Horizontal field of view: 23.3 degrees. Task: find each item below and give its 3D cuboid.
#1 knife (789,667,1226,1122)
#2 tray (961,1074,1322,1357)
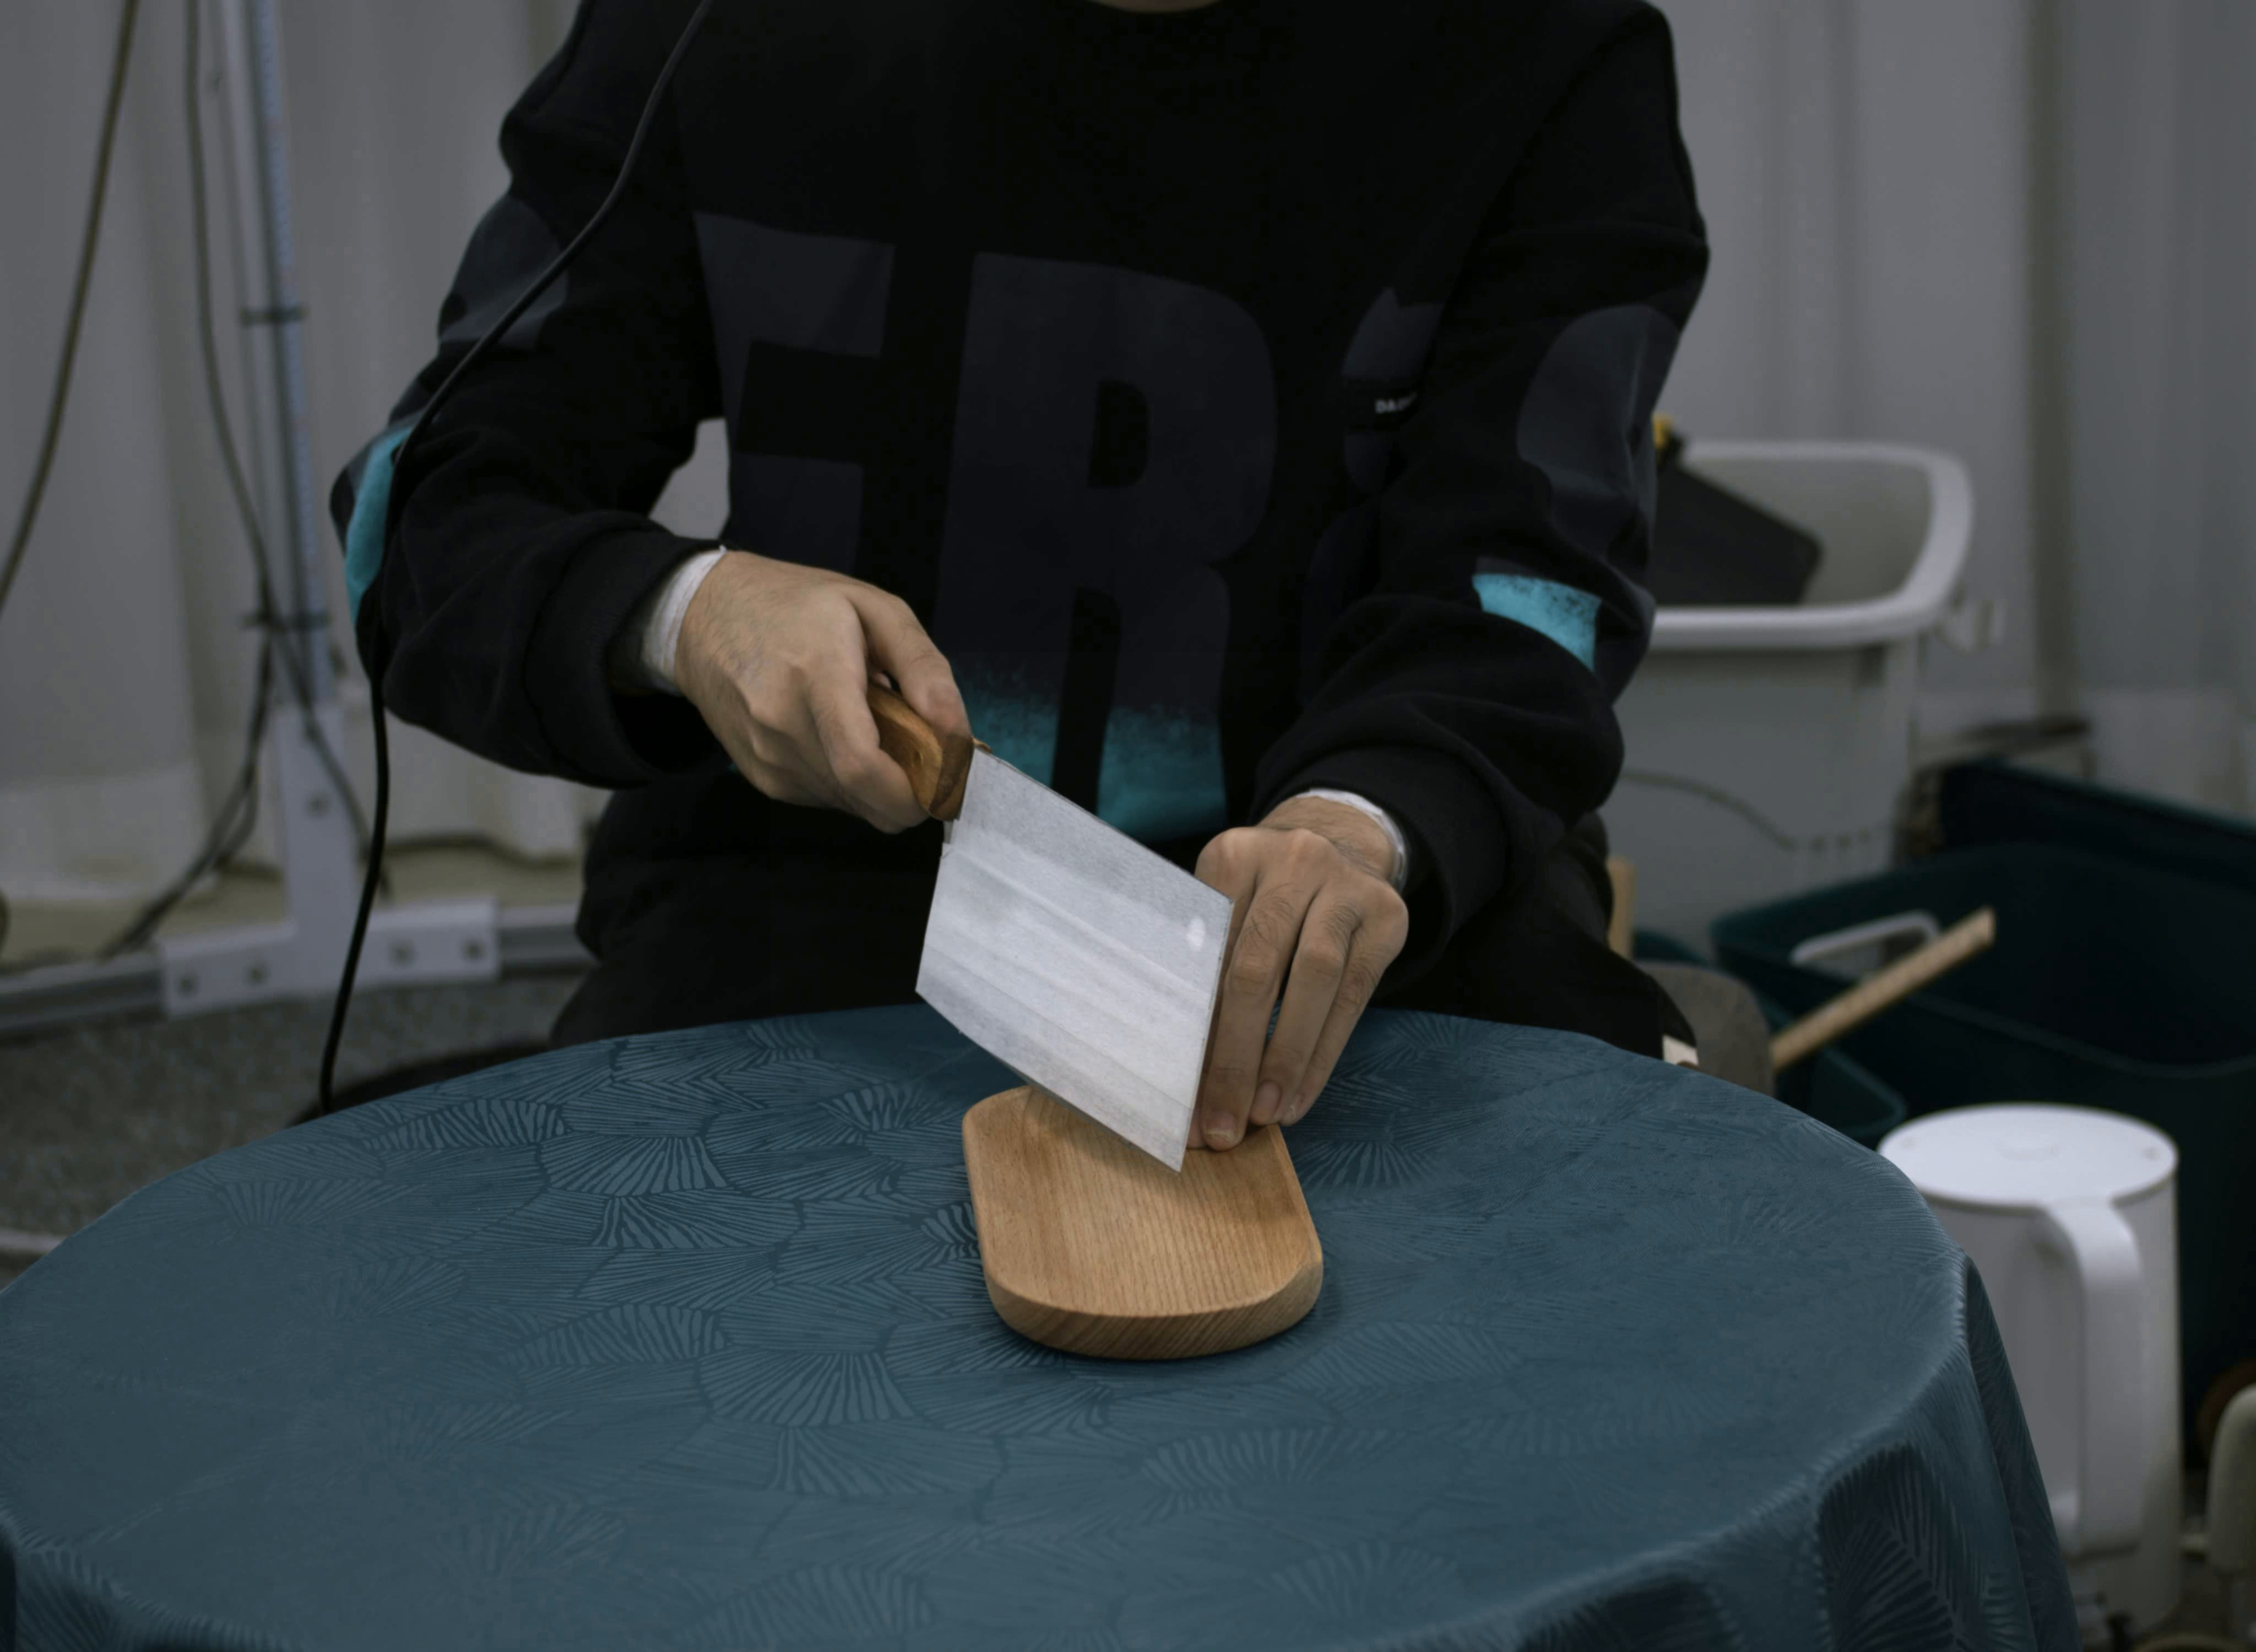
[{"bbox_3d":[-0.046,0.022,1.792,0.021,0.092,0.308,4,14,-29],"label":"knife"},{"bbox_3d":[0.002,0.116,1.676,0.101,0.020,0.233,-2,14,-4],"label":"tray"}]
